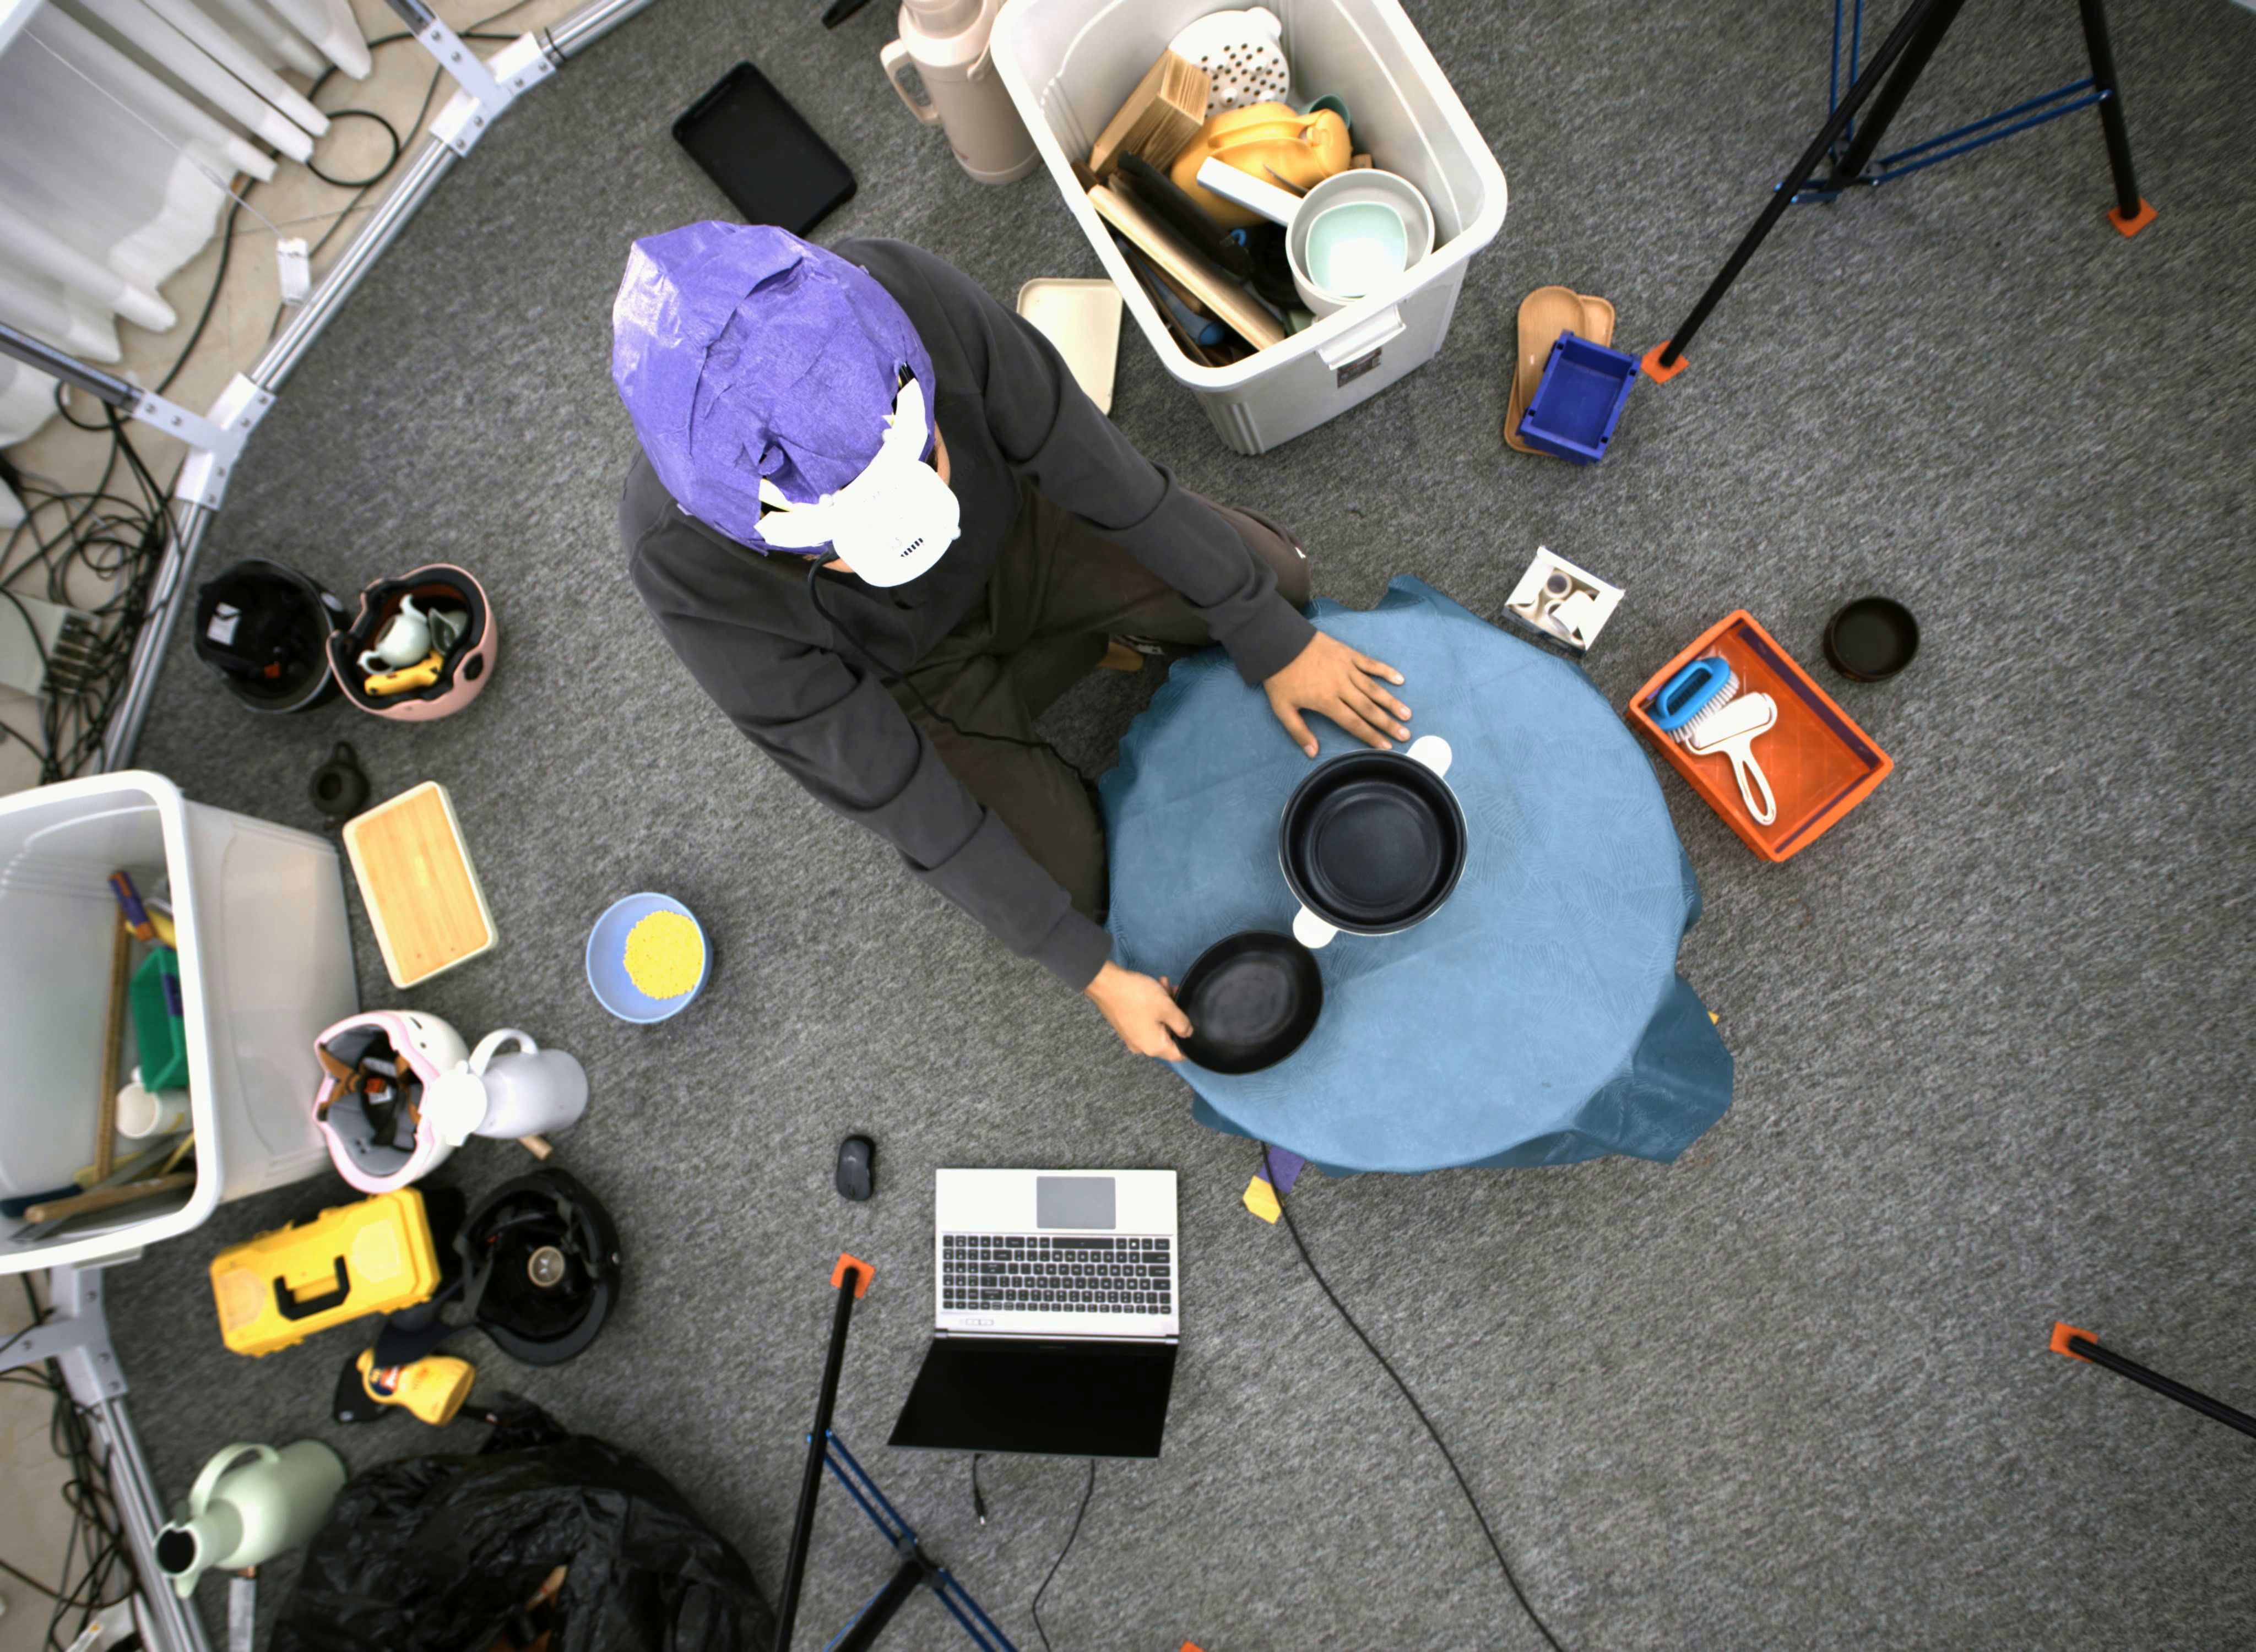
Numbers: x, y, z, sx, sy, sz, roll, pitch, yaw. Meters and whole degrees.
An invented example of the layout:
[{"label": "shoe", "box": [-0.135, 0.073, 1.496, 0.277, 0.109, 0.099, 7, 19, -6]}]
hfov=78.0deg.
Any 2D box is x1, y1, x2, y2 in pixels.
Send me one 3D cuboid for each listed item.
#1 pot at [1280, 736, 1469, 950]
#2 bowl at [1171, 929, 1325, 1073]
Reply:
[{"label": "pot", "box": [0.243, 0.020, 1.399, 0.190, 0.143, 0.240, 33, 91, 8]}, {"label": "bowl", "box": [0.127, 0.184, 1.449, 0.171, 0.067, 0.136, -39, 80, 7]}]
